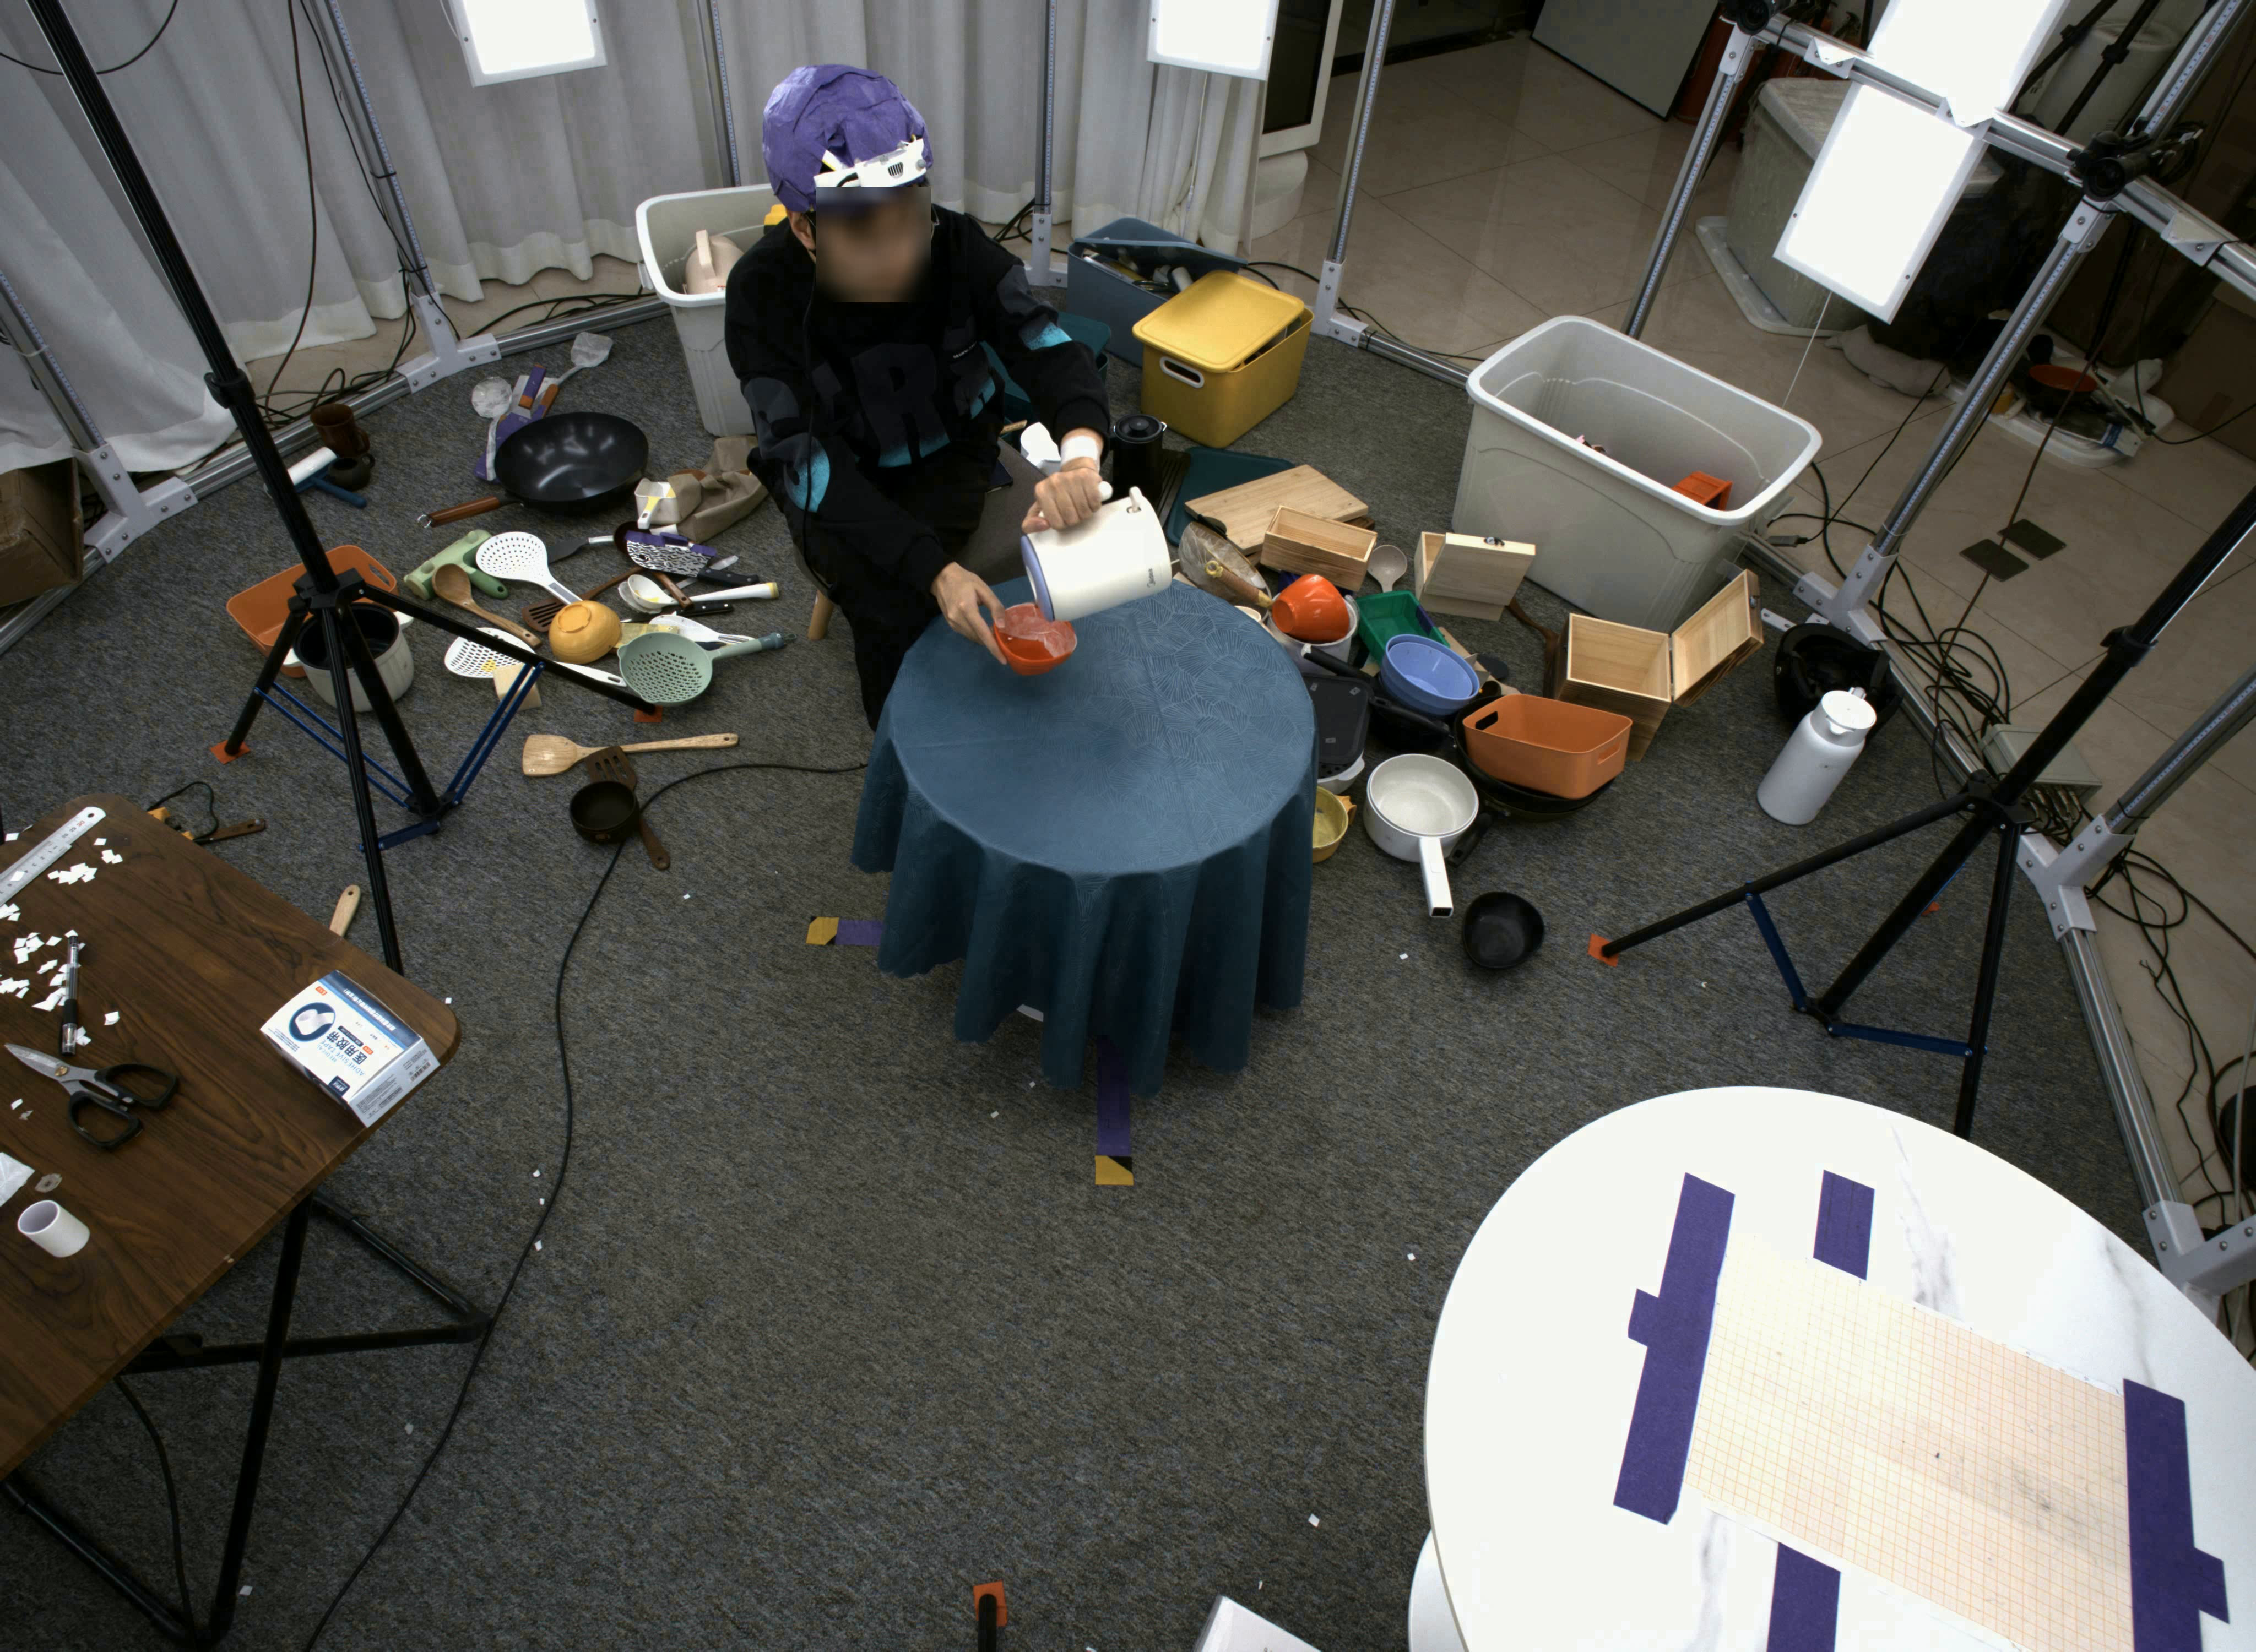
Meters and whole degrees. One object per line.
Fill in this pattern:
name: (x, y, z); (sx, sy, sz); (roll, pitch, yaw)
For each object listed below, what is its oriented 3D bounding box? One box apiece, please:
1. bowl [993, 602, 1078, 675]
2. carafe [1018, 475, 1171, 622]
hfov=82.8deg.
bowl: (-0.131, -0.253, 1.780); (0.118, 0.050, 0.122); (6, 52, -8)
carafe: (-0.047, -0.367, 1.679); (0.182, 0.186, 0.135); (-19, 50, -8)
